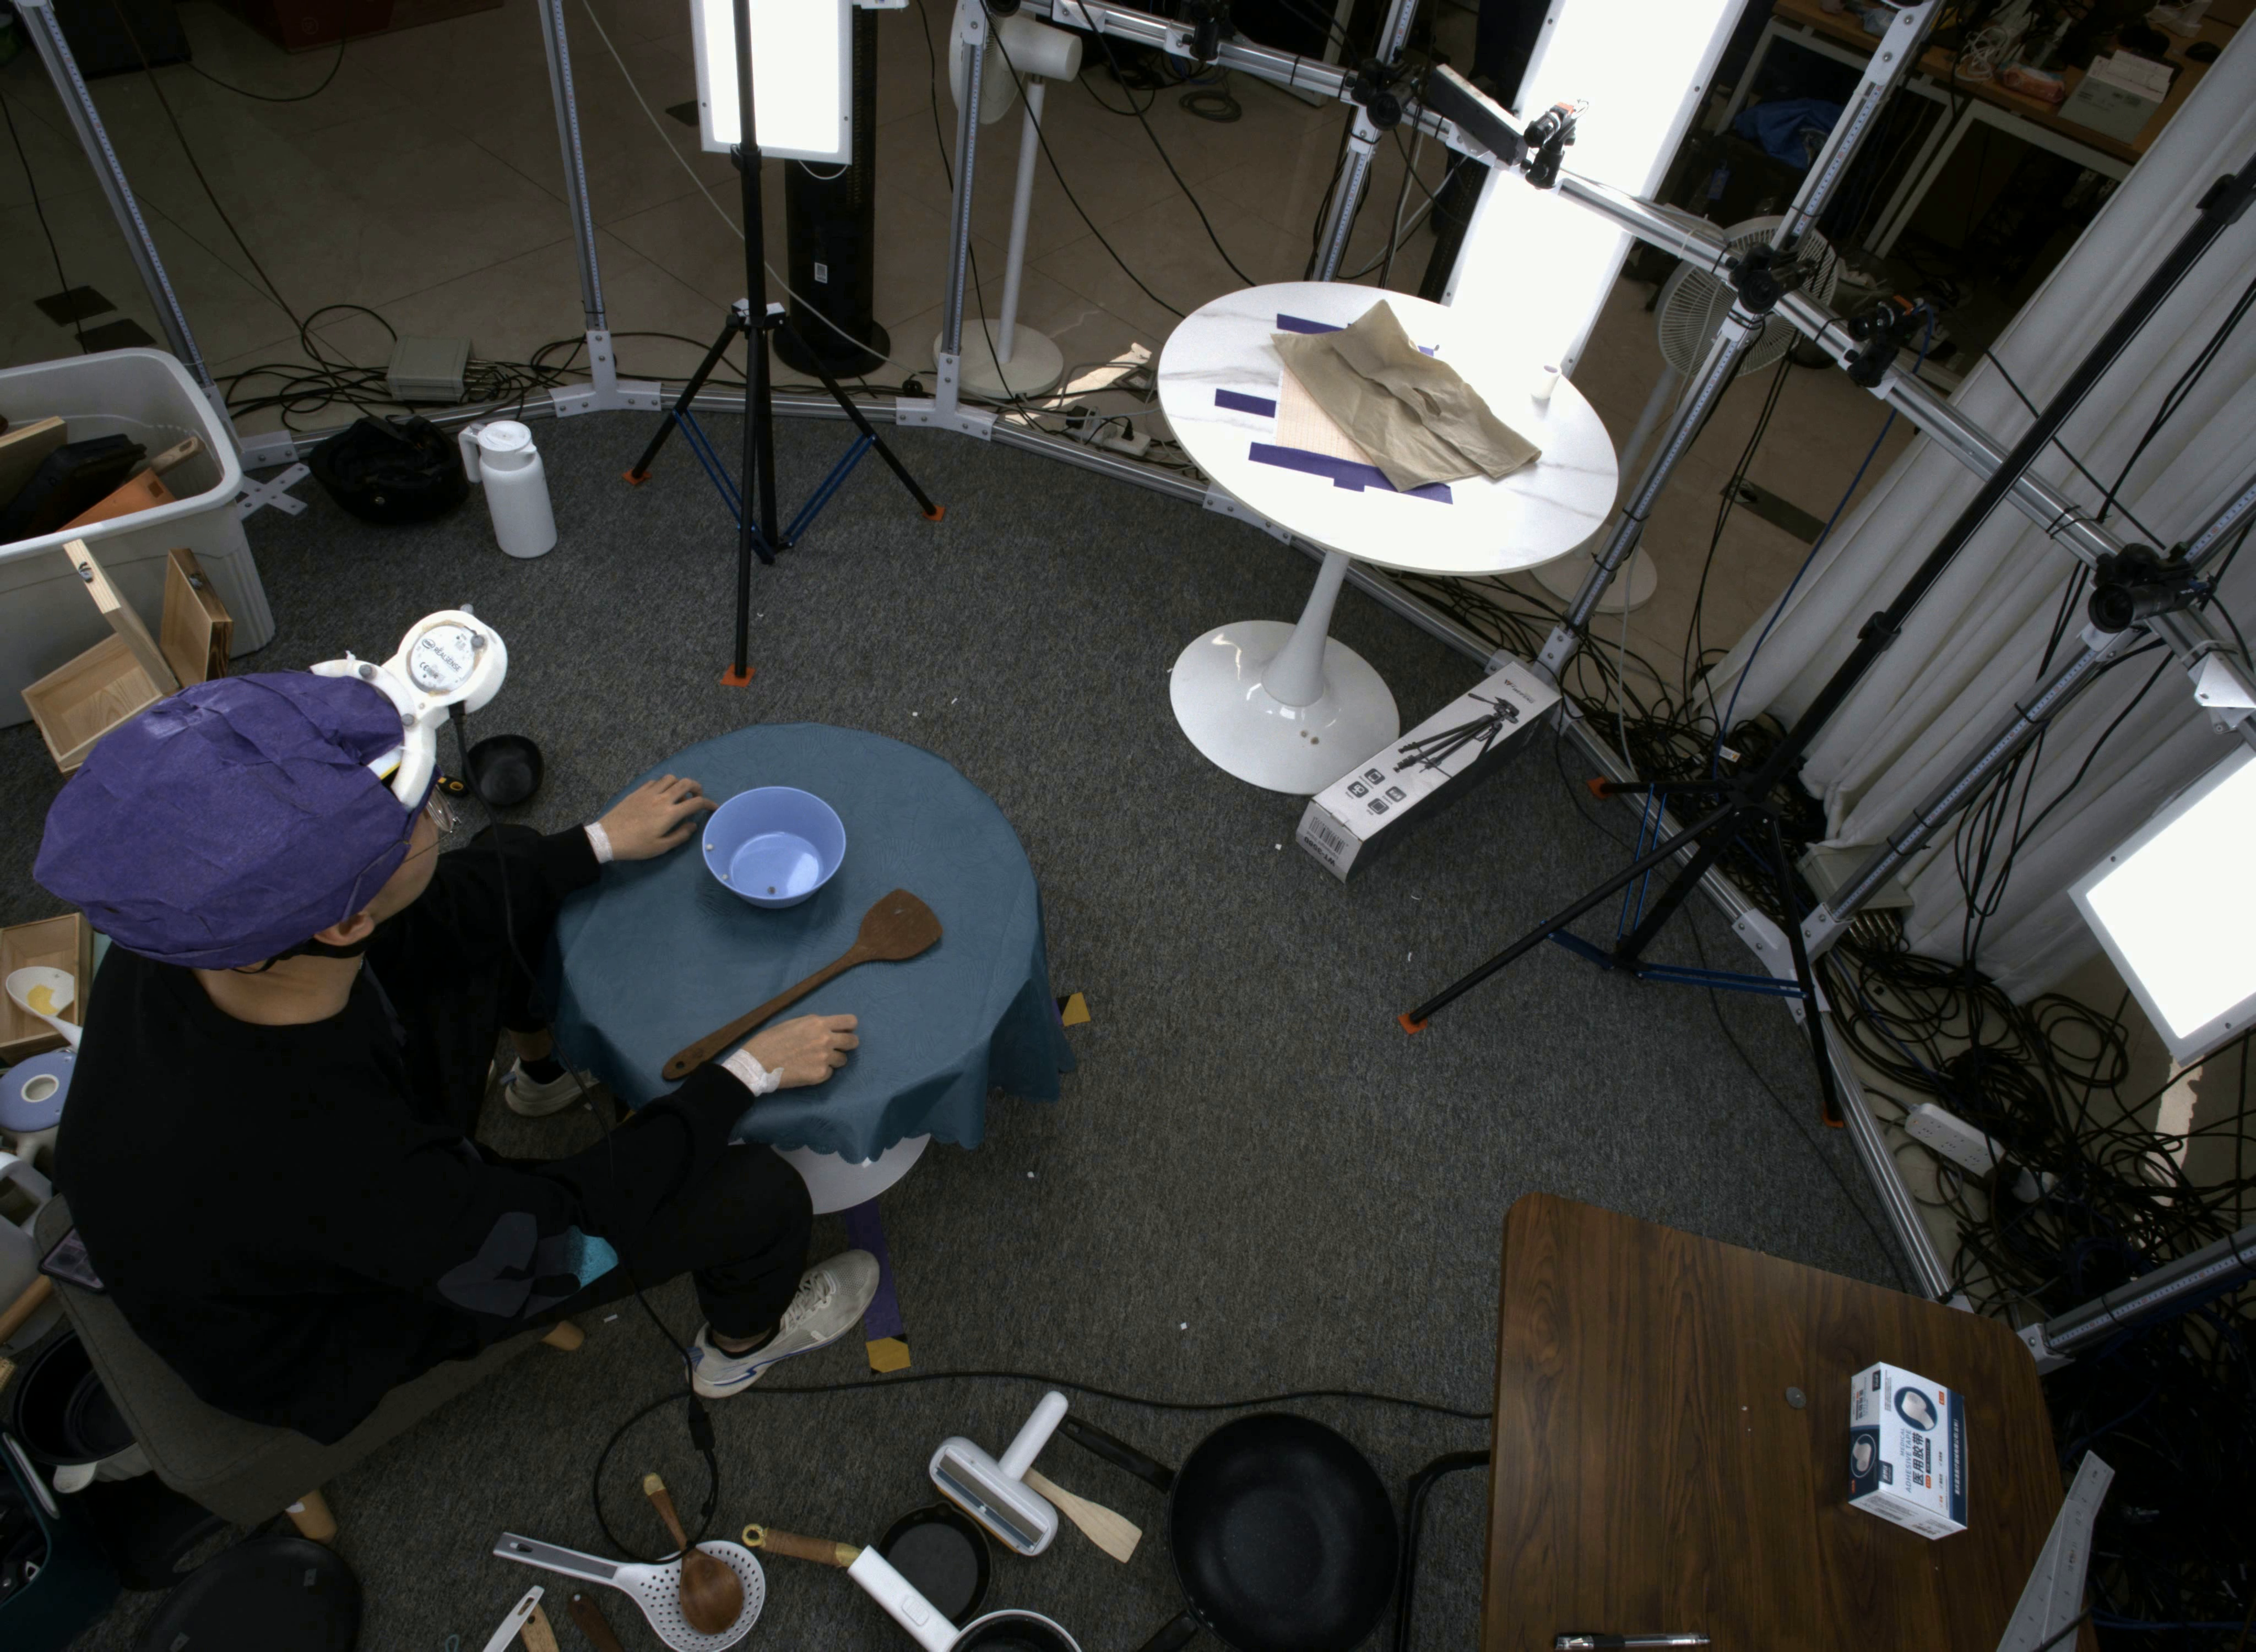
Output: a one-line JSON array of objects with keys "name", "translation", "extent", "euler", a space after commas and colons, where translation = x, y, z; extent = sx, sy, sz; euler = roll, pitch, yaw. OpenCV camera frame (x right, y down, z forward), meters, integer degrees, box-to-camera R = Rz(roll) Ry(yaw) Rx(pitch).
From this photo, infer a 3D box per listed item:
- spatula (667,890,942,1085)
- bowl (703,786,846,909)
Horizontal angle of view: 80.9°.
[{"name": "spatula", "translation": [-0.395, 0.197, 1.581], "extent": [0.387, 0.016, 0.094], "euler": [-34, 68, -32]}, {"name": "bowl", "translation": [-0.447, 0.037, 1.651], "extent": [0.175, 0.072, 0.173], "euler": [7, 53, -7]}]
